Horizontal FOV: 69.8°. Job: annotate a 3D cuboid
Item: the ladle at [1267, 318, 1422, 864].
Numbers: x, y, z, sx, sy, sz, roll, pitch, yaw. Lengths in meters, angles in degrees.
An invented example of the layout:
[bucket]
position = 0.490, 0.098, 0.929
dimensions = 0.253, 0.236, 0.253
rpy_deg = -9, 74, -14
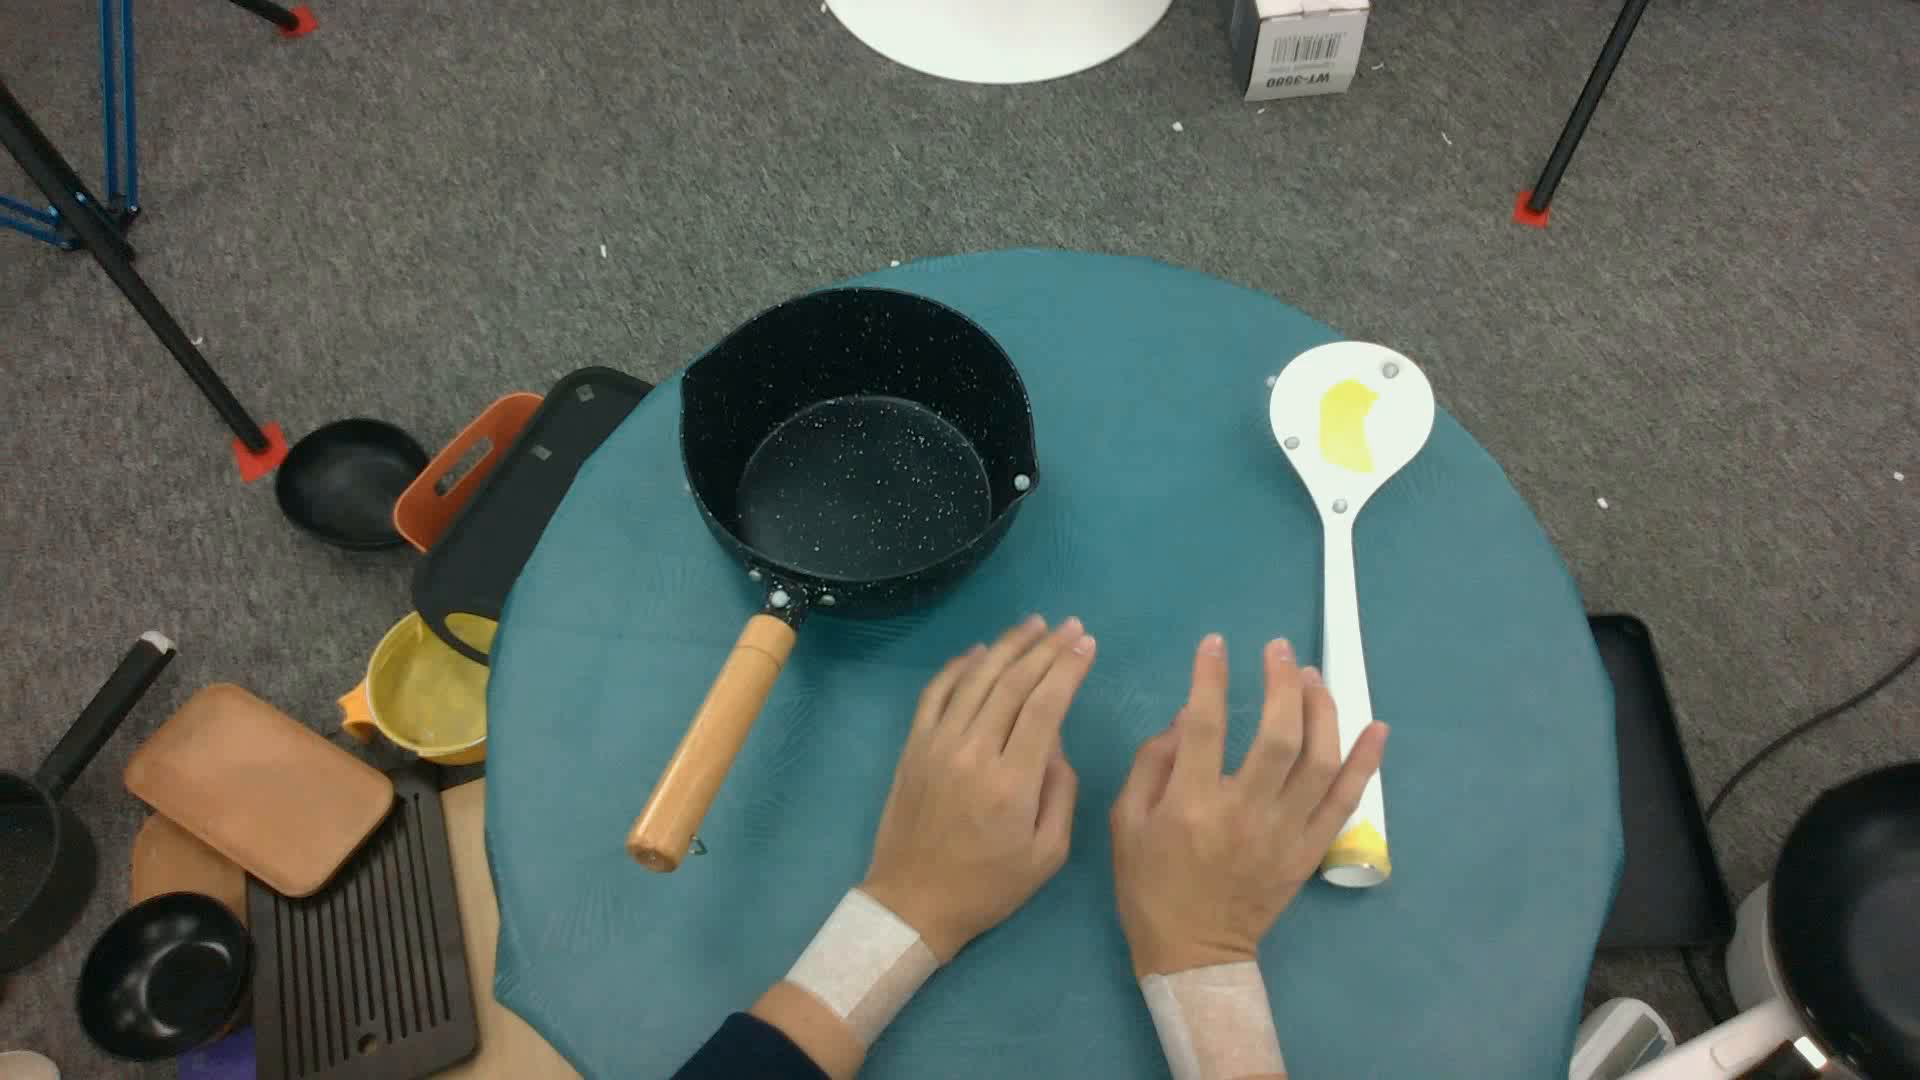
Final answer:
[ladle]
position = 0.202, 0.020, 0.736
dimensions = 0.090, 0.069, 0.294
rpy_deg = 11, 63, -4

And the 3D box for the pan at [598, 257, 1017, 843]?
[pan]
position = -0.091, 0.007, 0.706
dimensions = 0.207, 0.108, 0.344
rpy_deg = 17, 61, 5
